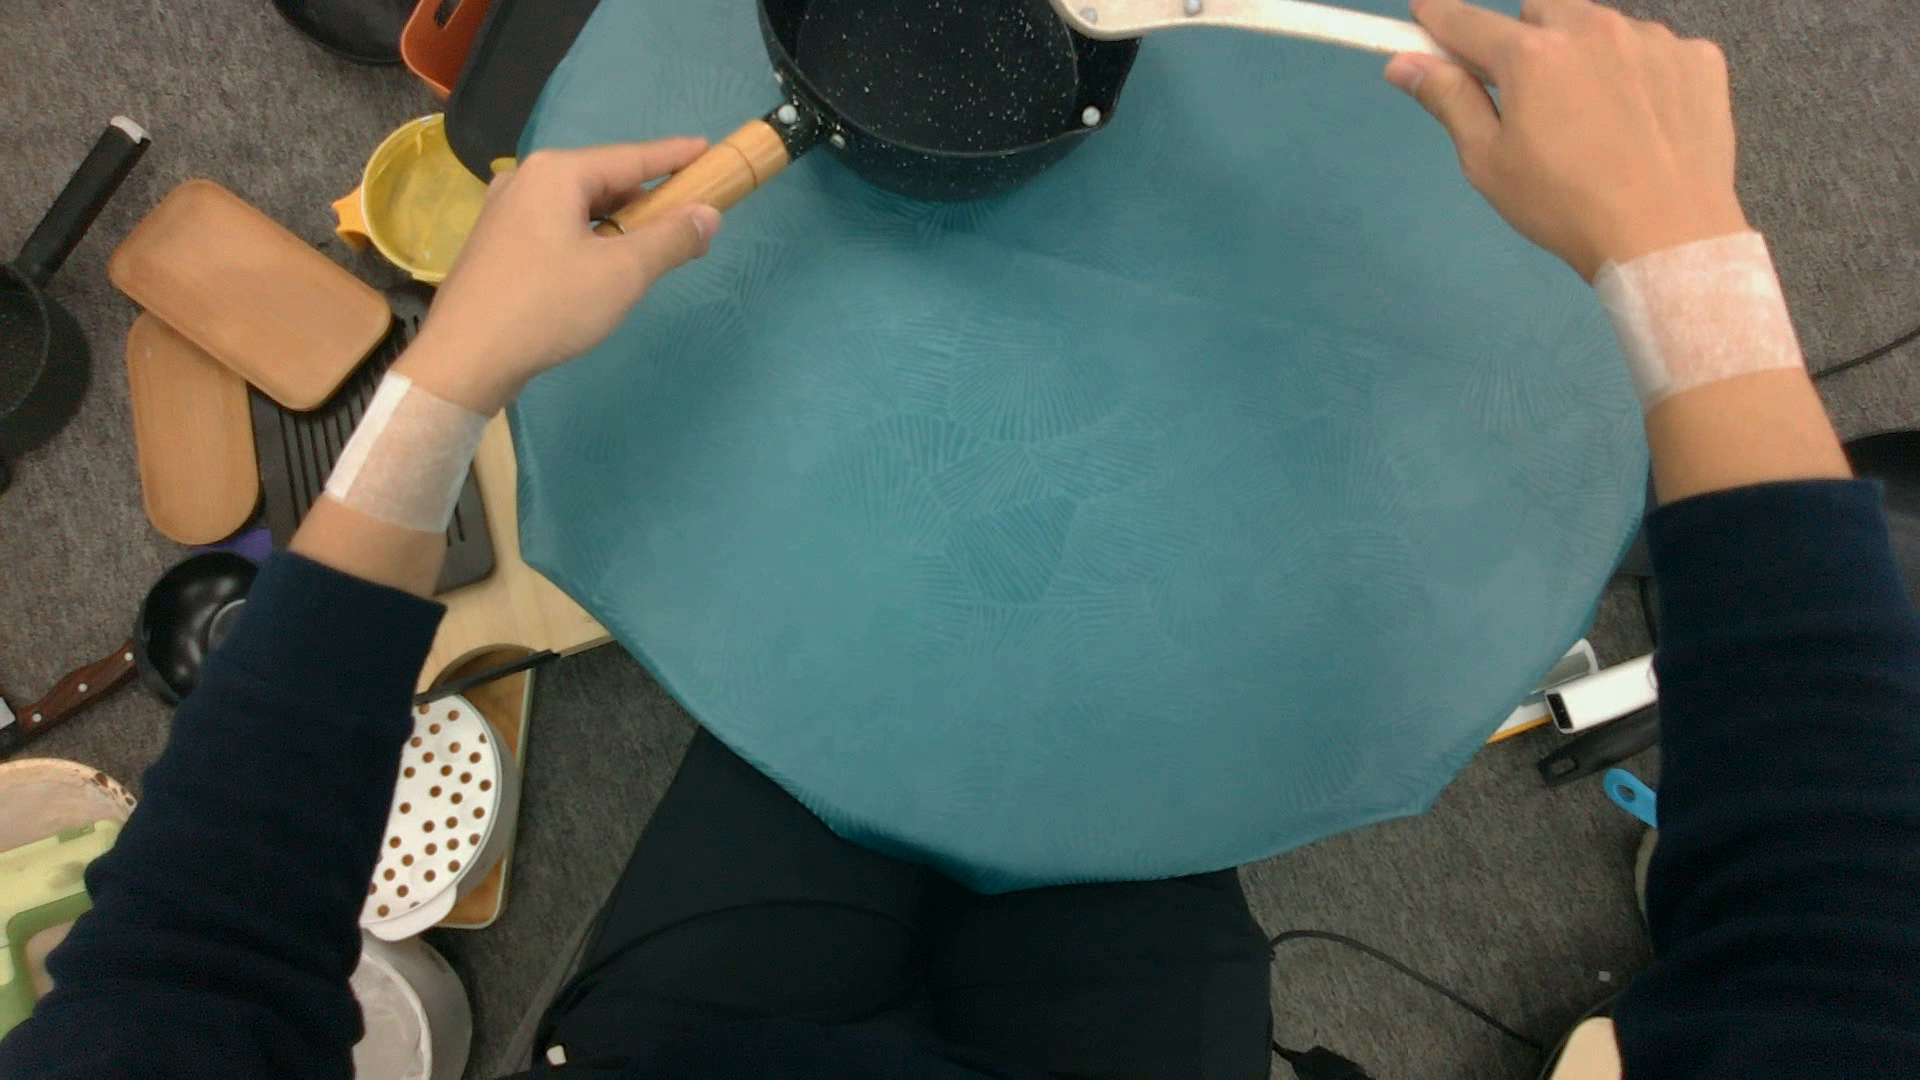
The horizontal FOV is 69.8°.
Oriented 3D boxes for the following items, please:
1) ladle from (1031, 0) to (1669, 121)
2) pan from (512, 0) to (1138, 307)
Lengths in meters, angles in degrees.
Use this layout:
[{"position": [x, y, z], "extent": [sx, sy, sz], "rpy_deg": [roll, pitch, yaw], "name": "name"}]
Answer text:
[{"position": [0.150, -0.228, 0.559], "extent": [0.274, 0.069, 0.090], "rpy_deg": [19, 54, 22], "name": "ladle"}, {"position": [-0.065, -0.208, 0.649], "extent": [0.207, 0.108, 0.343], "rpy_deg": [44, 75, 2], "name": "pan"}]
